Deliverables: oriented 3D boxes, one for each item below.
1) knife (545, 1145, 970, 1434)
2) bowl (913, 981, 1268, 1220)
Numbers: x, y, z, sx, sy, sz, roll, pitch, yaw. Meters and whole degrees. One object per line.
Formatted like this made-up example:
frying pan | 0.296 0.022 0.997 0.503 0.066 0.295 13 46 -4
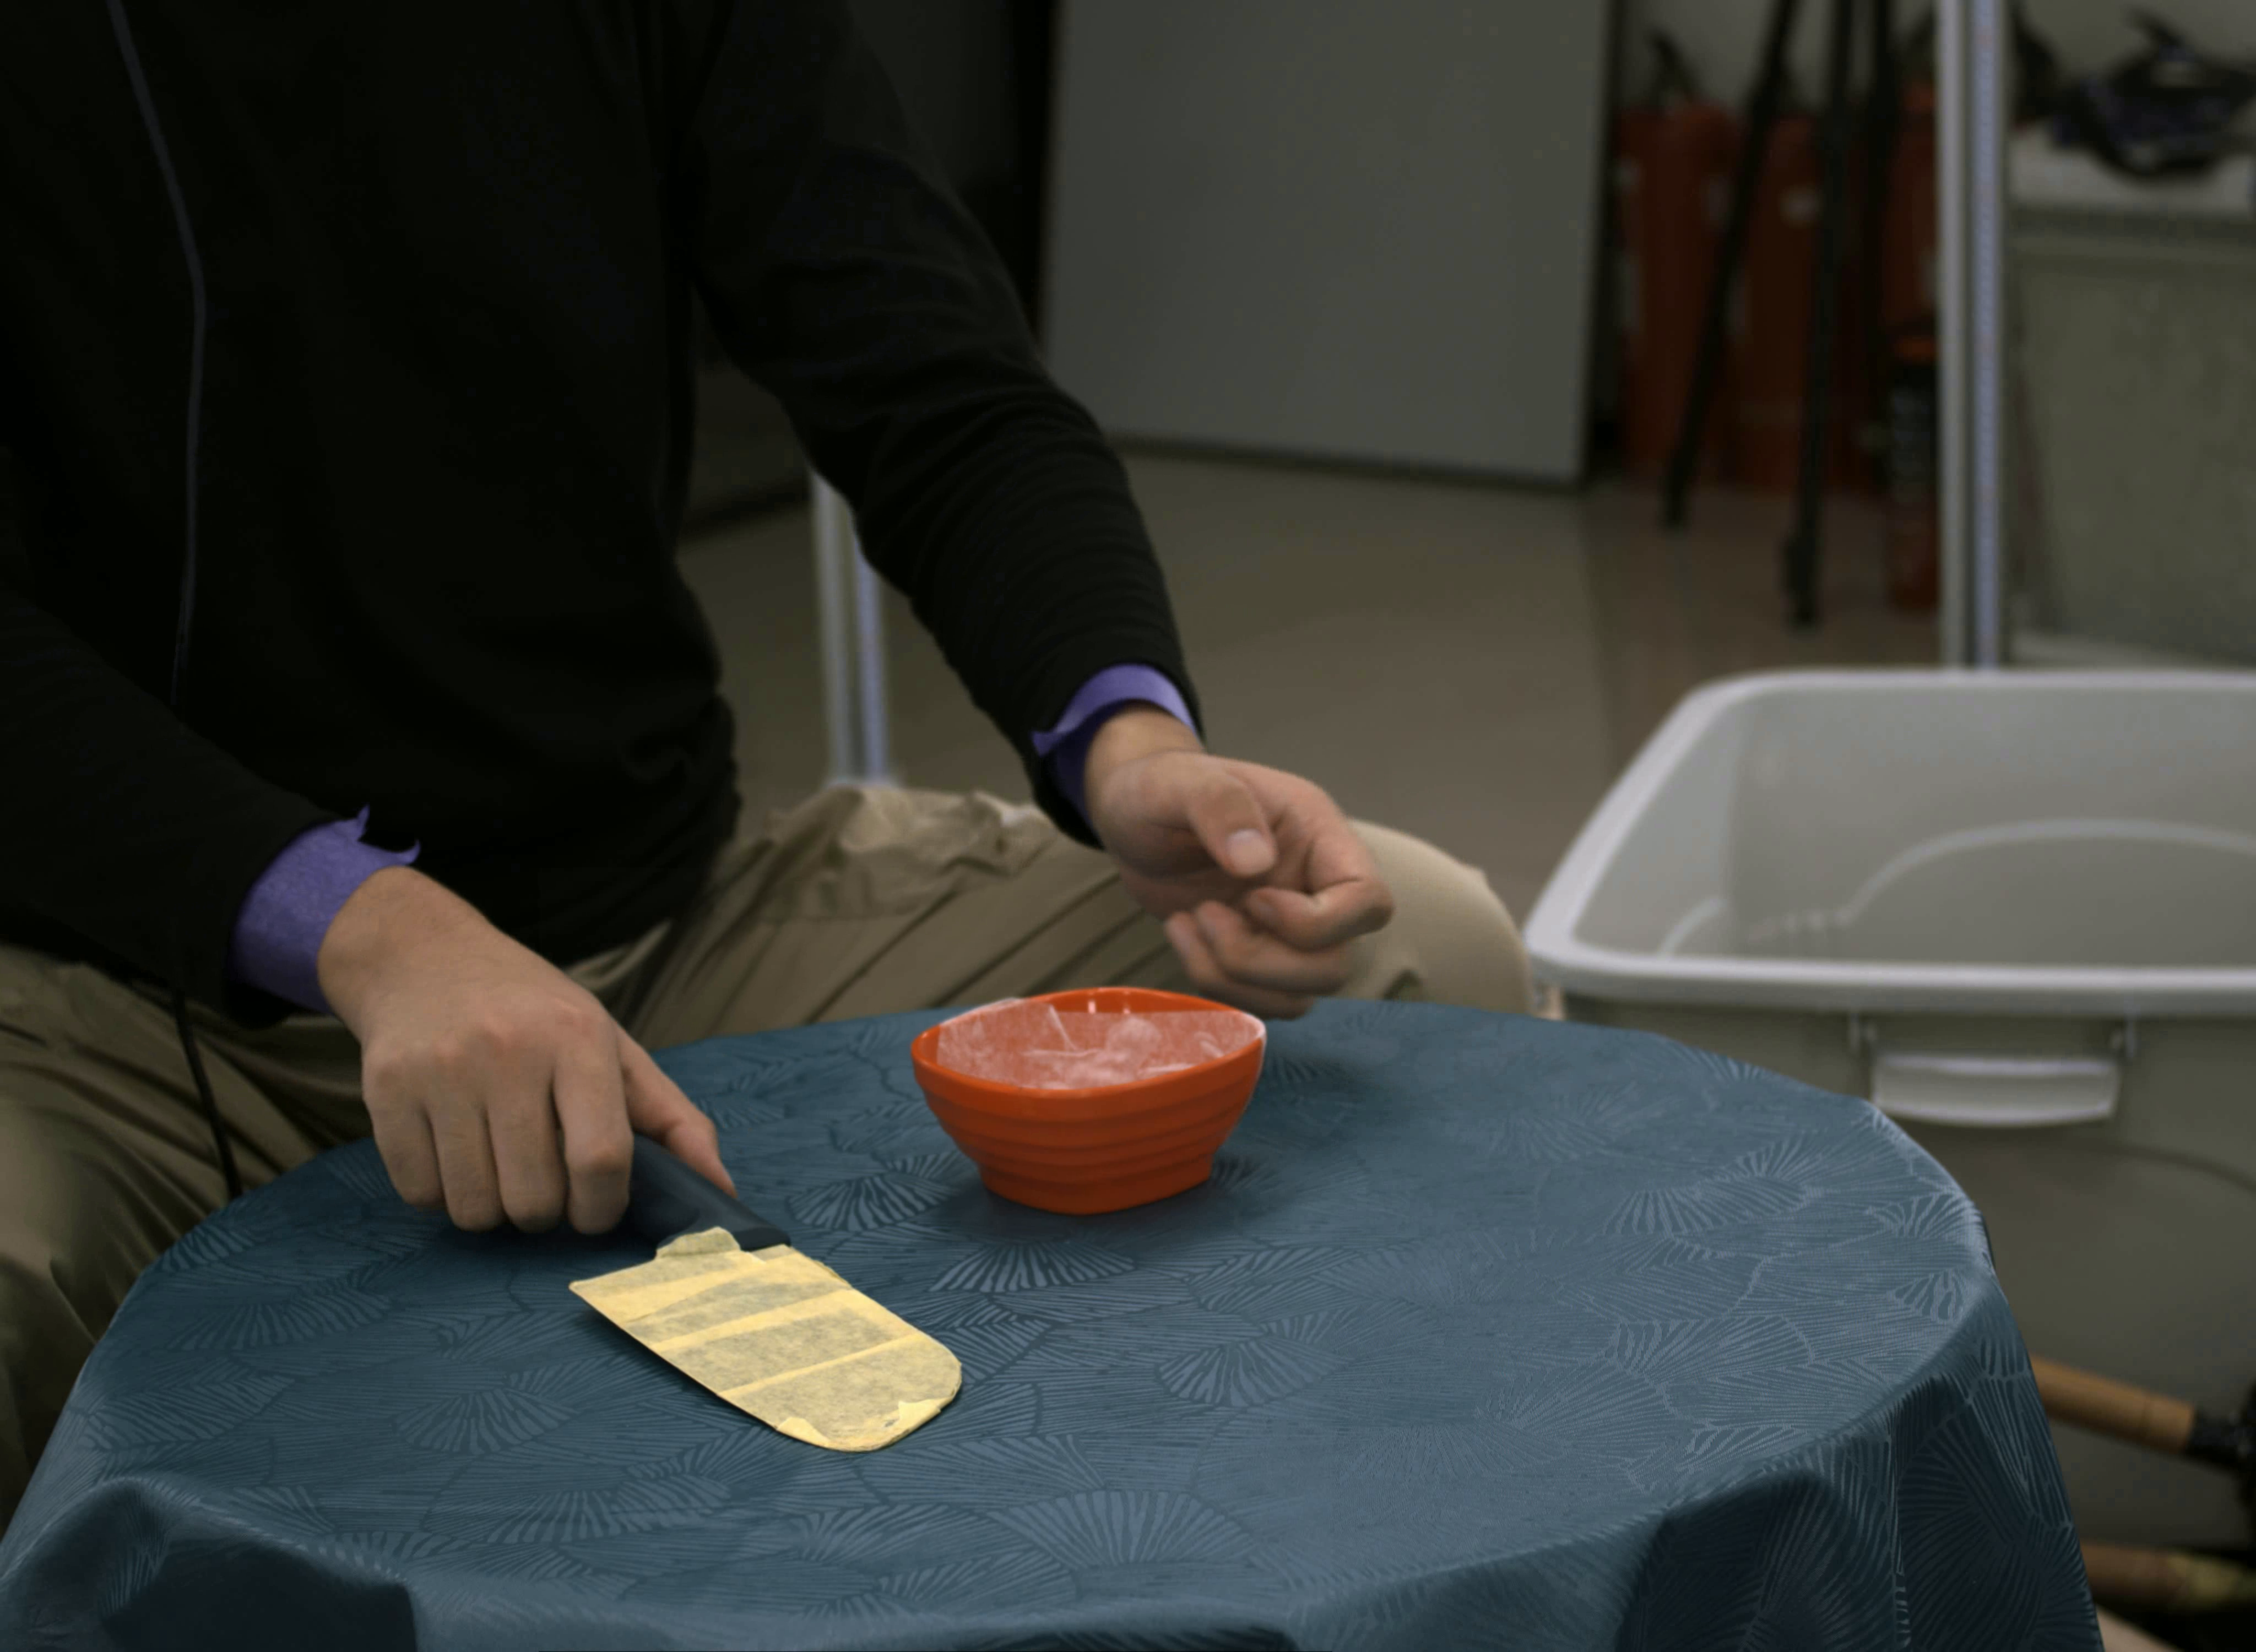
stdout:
knife | -0.130 0.146 1.687 0.079 0.027 0.292 -10 16 -25
bowl | -0.011 0.093 1.782 0.117 0.052 0.119 -5 16 0
